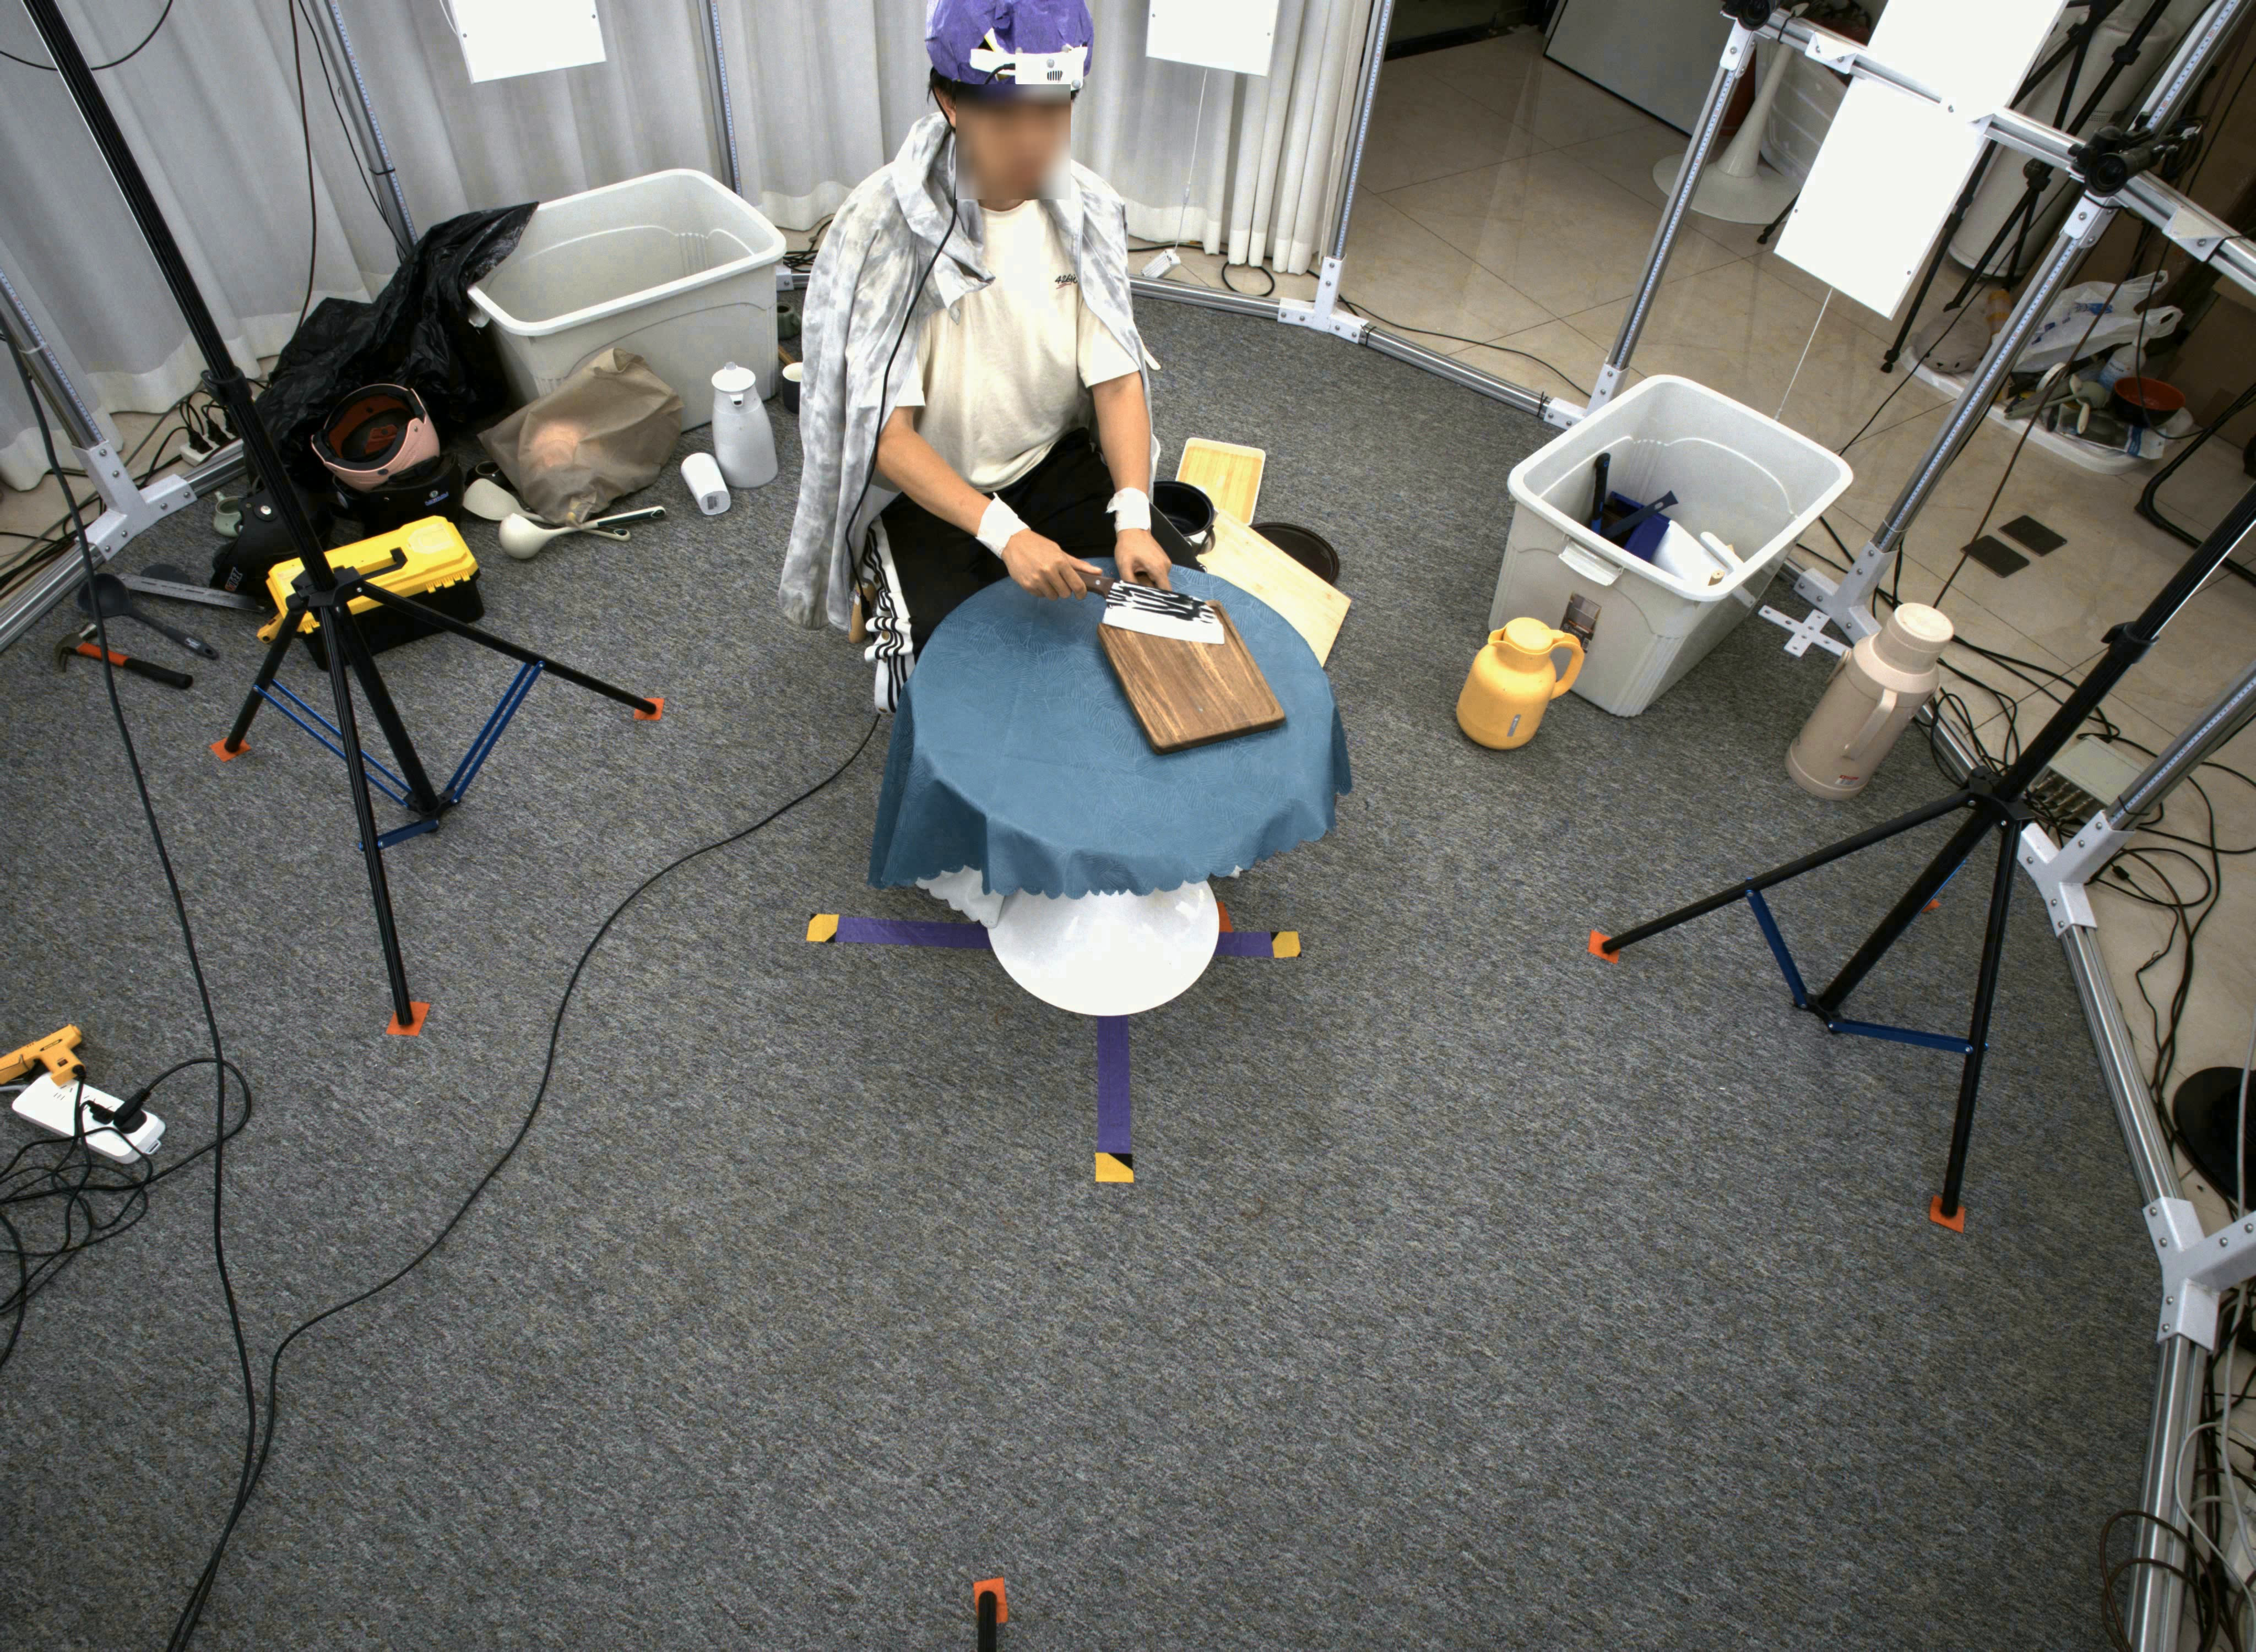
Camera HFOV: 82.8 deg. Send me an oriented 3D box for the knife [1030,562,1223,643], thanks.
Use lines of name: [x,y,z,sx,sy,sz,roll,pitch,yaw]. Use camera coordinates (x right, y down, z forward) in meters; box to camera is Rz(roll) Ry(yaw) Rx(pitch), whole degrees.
knife: [-0.003,-0.325,1.876,0.299,0.024,0.068,14,89,2]

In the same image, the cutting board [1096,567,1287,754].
cutting board: [0.070,-0.257,1.865,0.201,0.022,0.360,-14,53,-15]
